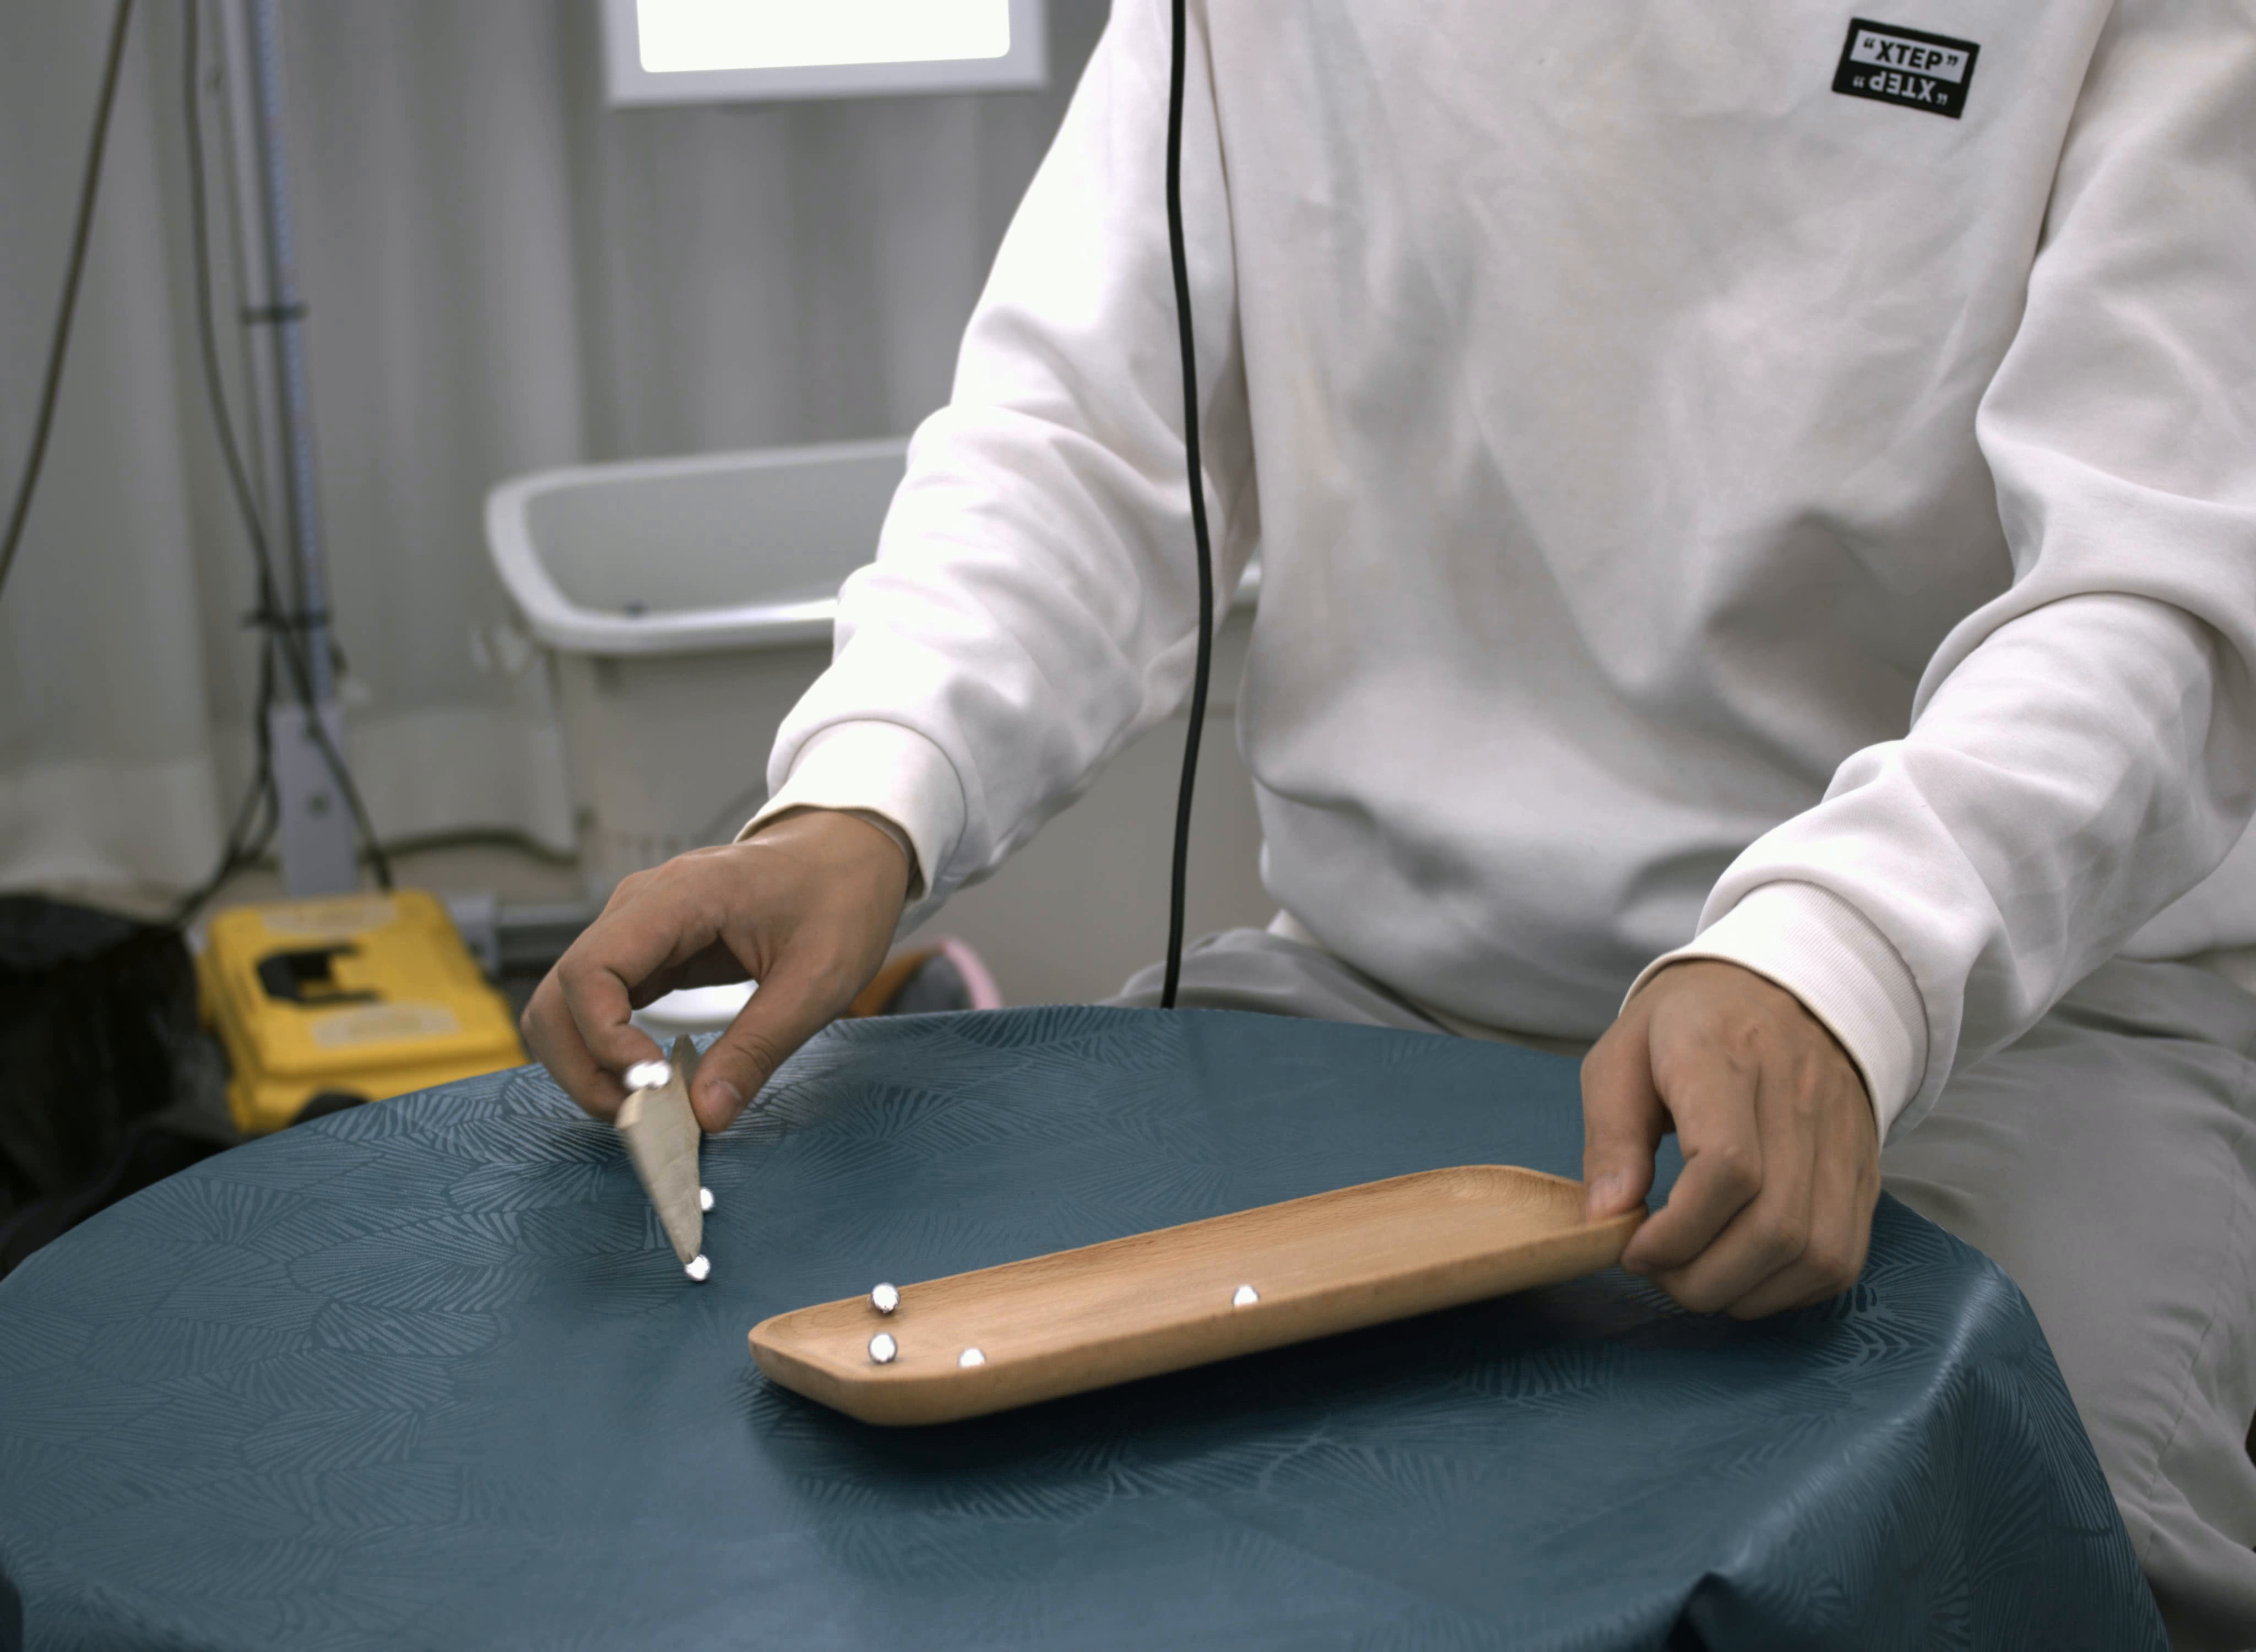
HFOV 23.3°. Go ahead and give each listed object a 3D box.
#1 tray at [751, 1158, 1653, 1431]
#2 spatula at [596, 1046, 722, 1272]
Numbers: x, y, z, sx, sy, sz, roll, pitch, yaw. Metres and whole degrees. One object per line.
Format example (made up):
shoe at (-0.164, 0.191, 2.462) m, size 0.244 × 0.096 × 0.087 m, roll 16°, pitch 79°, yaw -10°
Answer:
tray at (0.022, 0.133, 1.570) m, size 0.249 × 0.023 × 0.131 m, roll -10°, pitch 11°, yaw -22°
spatula at (-0.143, 0.098, 1.727) m, size 0.005 × 0.050 × 0.208 m, roll -29°, pitch 7°, yaw 5°
